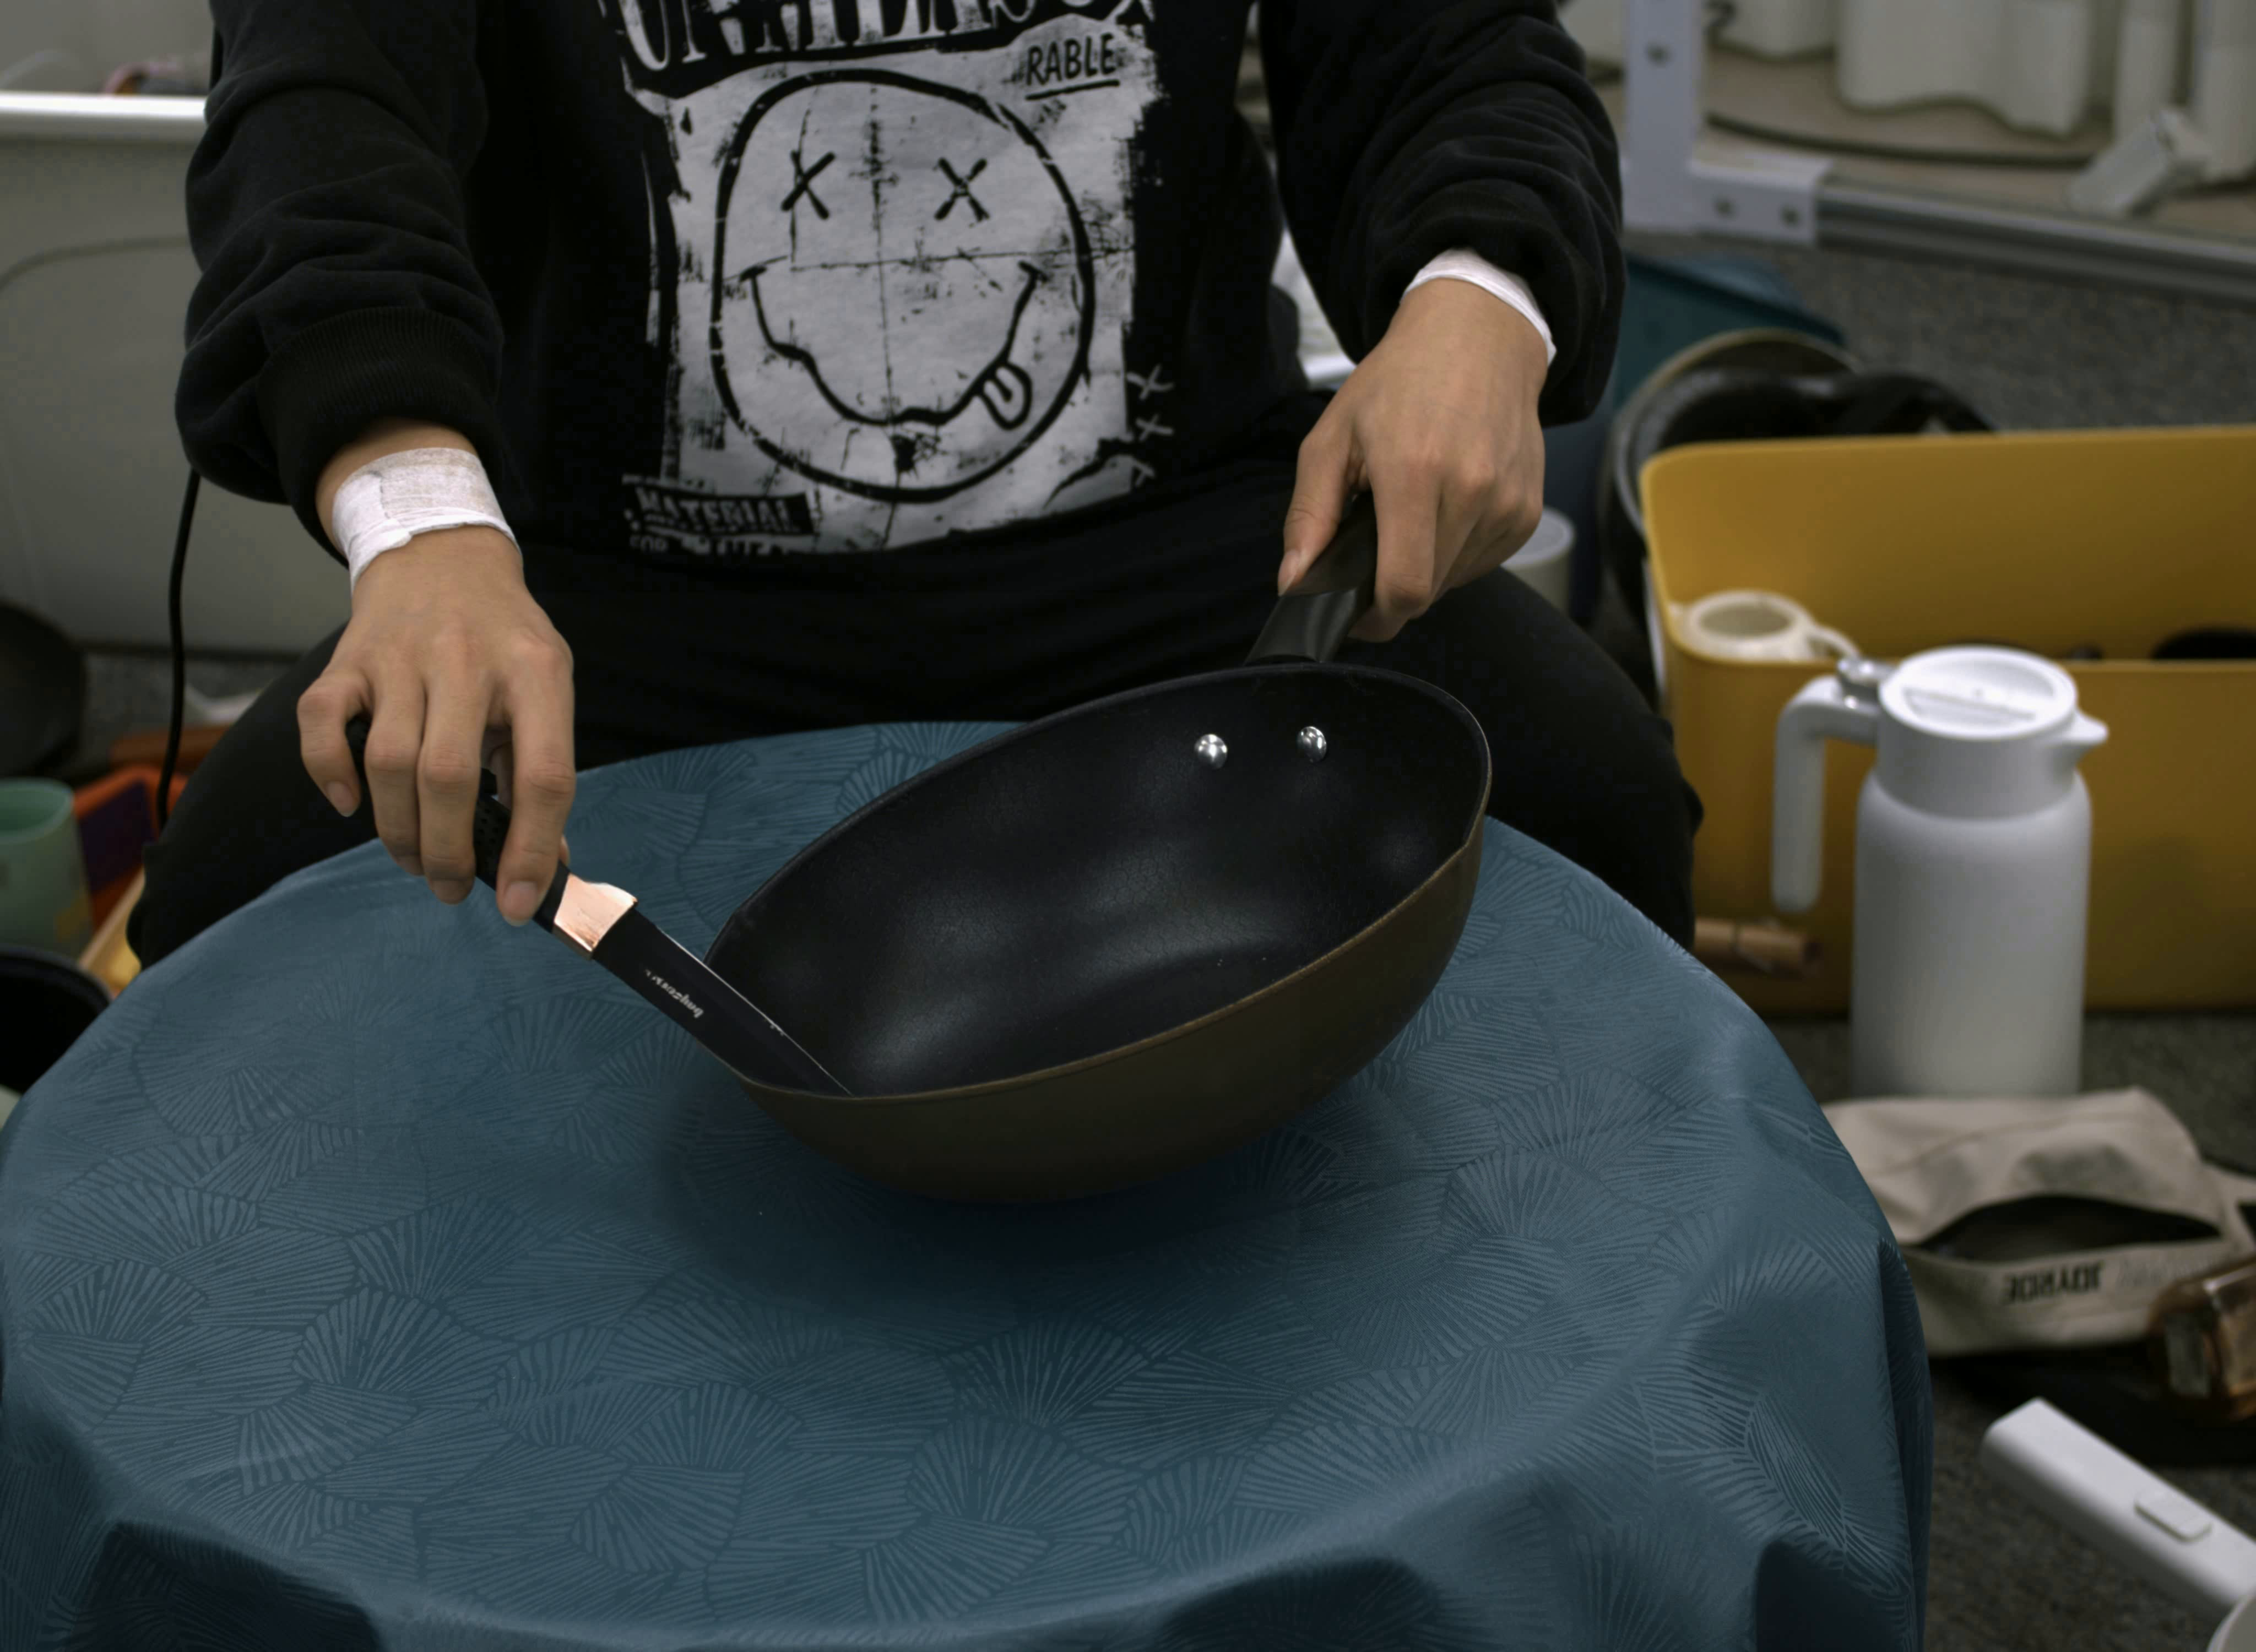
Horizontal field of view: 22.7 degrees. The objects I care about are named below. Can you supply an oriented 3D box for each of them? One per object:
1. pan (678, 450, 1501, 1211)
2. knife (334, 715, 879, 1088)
[{"bbox_3d":[0.034,0.005,1.942,0.285,0.086,0.471,-5,26,31],"label":"pan"},{"bbox_3d":[-0.165,0.034,1.822,0.225,0.017,0.026,36,64,7],"label":"knife"}]
